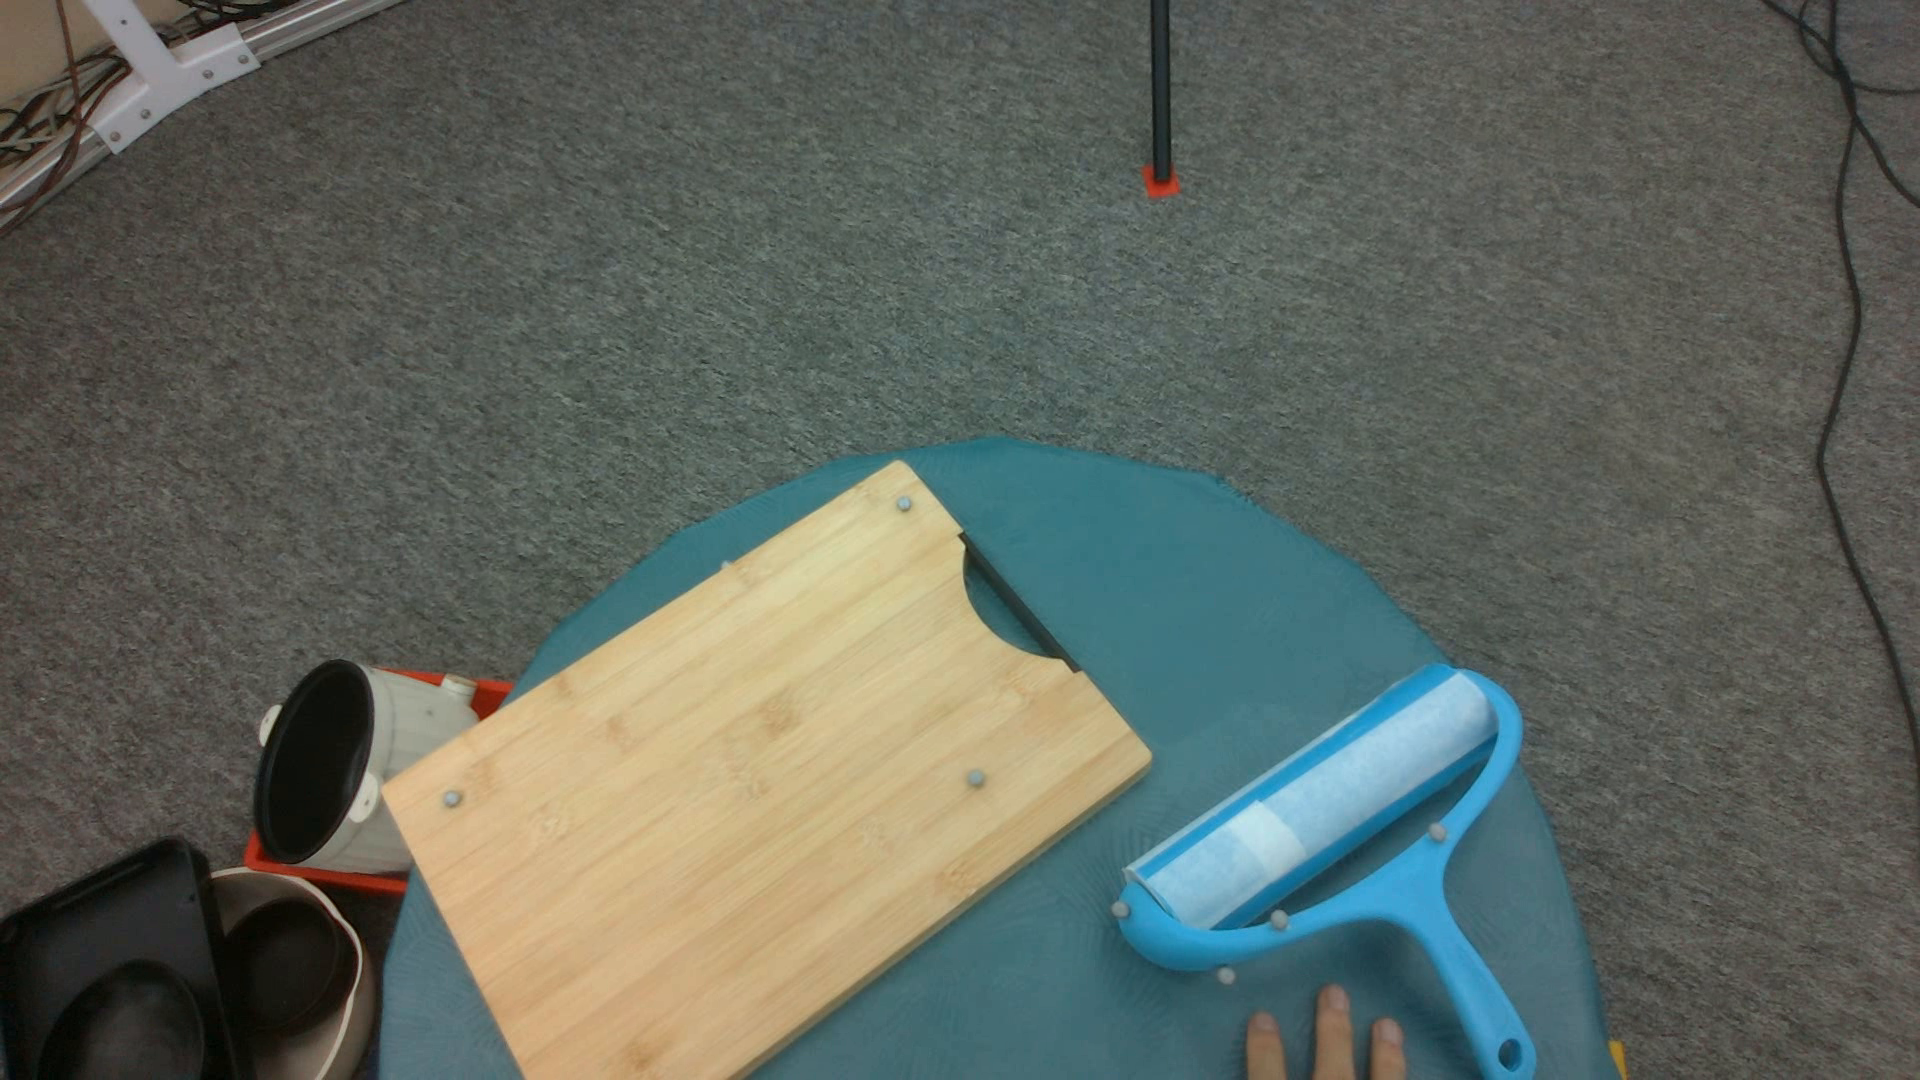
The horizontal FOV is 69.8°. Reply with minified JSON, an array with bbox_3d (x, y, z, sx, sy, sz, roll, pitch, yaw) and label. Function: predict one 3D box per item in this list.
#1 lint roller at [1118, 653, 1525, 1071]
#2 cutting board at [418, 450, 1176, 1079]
[{"bbox_3d":[0.211,0.170,0.669,0.229,0.067,0.180,-32,60,-14],"label":"lint roller"},{"bbox_3d":[-0.095,0.122,0.752,0.349,0.023,0.251,-34,63,-13],"label":"cutting board"}]
